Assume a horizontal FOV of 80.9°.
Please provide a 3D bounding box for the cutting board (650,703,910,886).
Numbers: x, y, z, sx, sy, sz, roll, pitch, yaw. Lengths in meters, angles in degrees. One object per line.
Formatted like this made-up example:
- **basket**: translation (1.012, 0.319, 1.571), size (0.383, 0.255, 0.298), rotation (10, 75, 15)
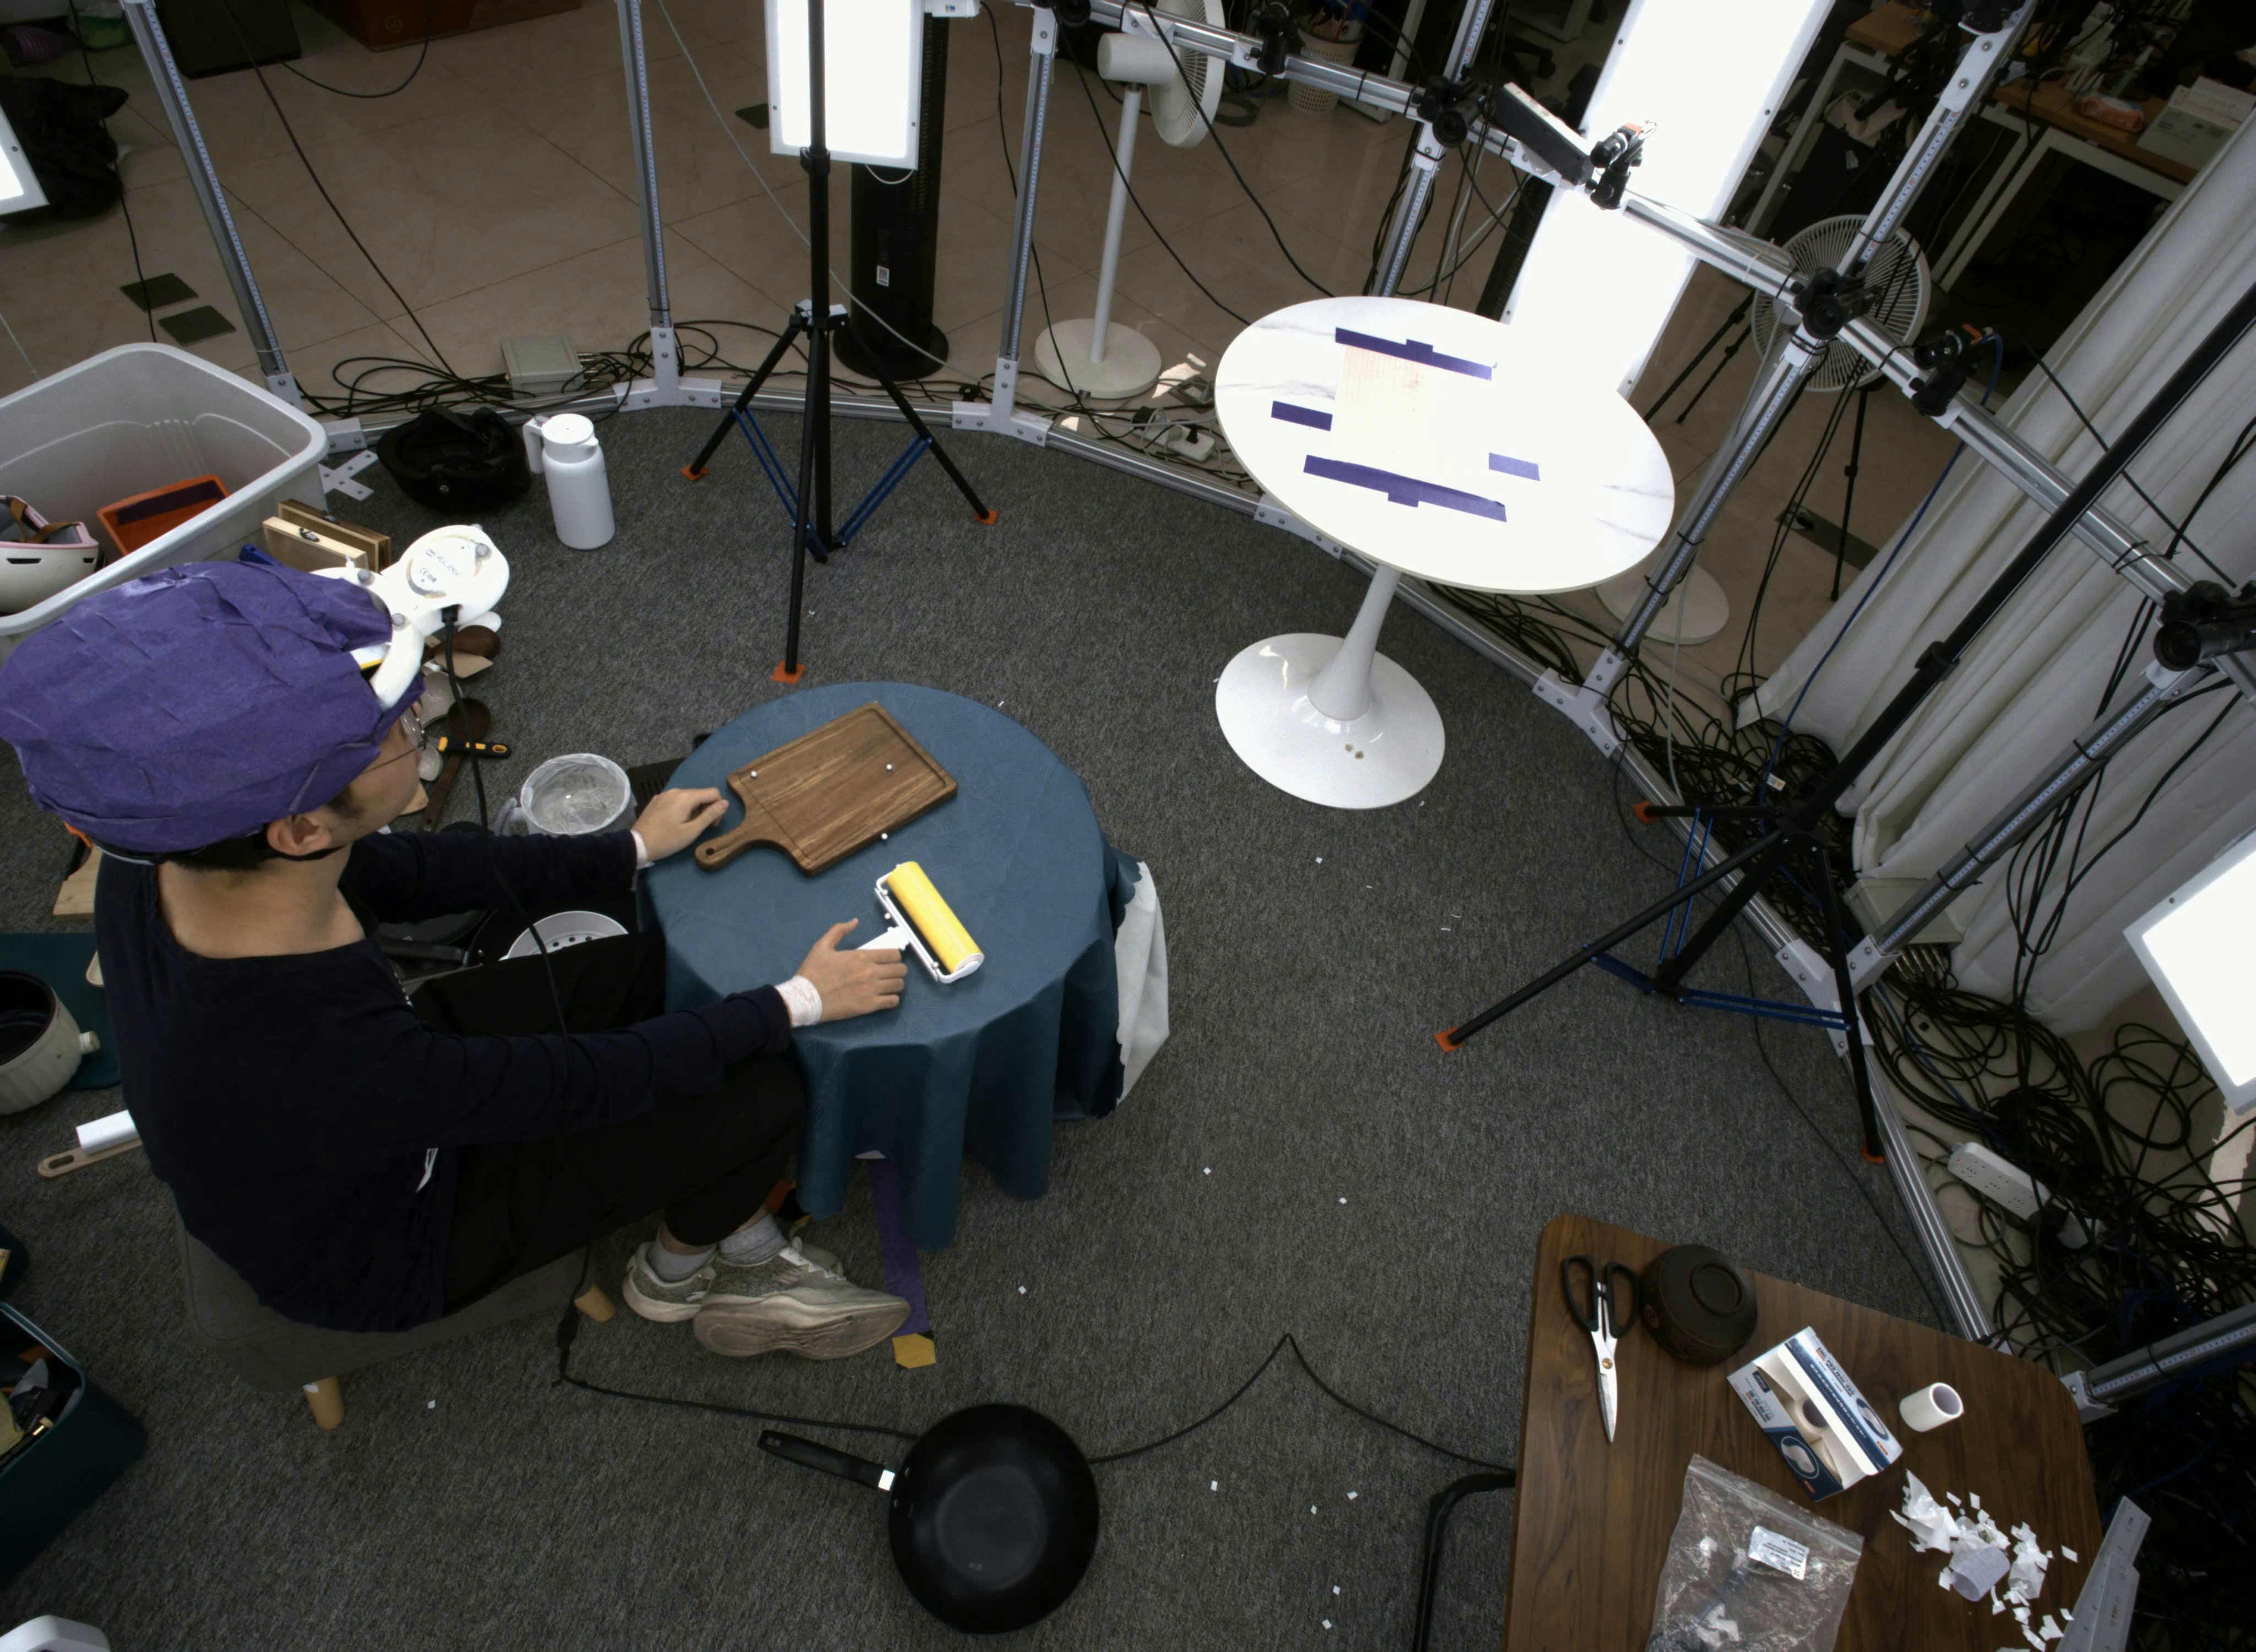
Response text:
- **cutting board**: translation (-0.485, -0.026, 1.725), size (0.196, 0.023, 0.353), rotation (42, 56, 18)

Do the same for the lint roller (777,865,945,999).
- **lint roller**: translation (-0.350, 0.149, 1.611), size (0.193, 0.052, 0.170), rotation (-29, 64, -33)
